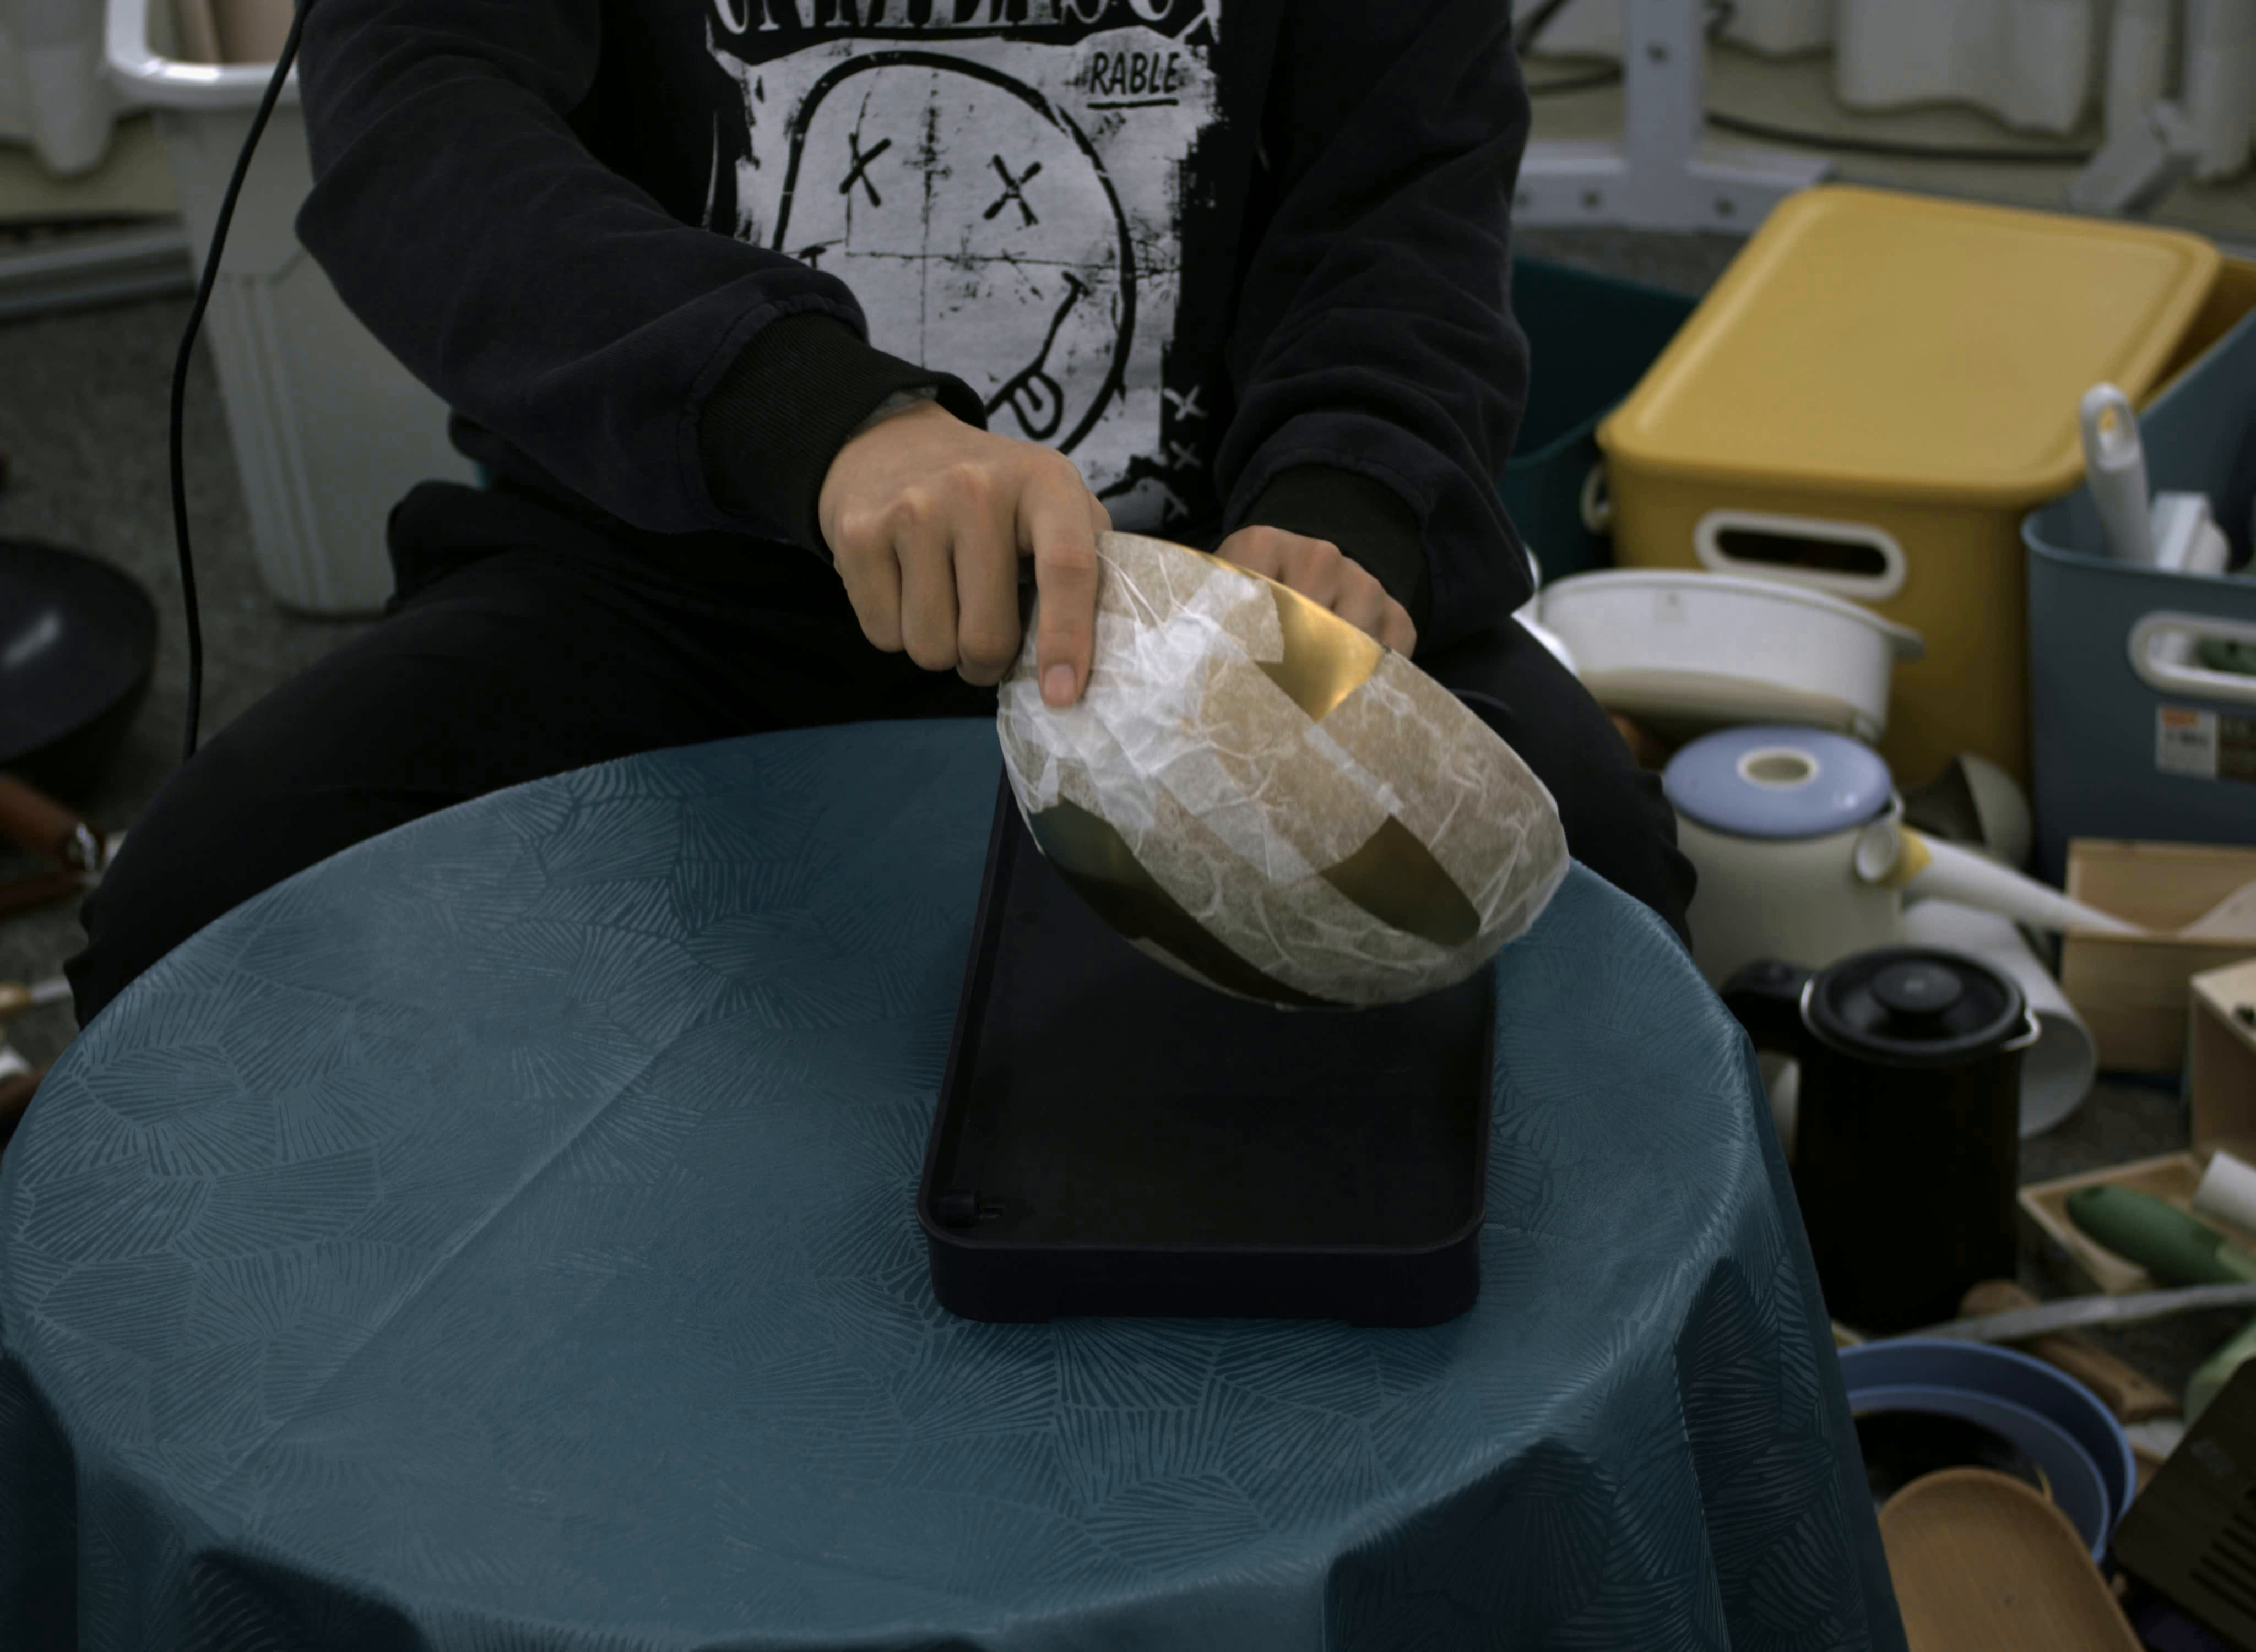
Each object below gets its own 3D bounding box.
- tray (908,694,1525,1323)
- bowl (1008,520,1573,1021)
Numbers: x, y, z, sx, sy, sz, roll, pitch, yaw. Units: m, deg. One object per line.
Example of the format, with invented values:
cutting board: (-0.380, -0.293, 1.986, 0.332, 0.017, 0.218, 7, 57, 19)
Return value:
tray: (0.037, 0.056, 1.905, 0.183, 0.036, 0.324, -1, 33, 8)
bowl: (0.035, 0.000, 1.843, 0.214, 0.212, 0.096, 21, 69, 38)
